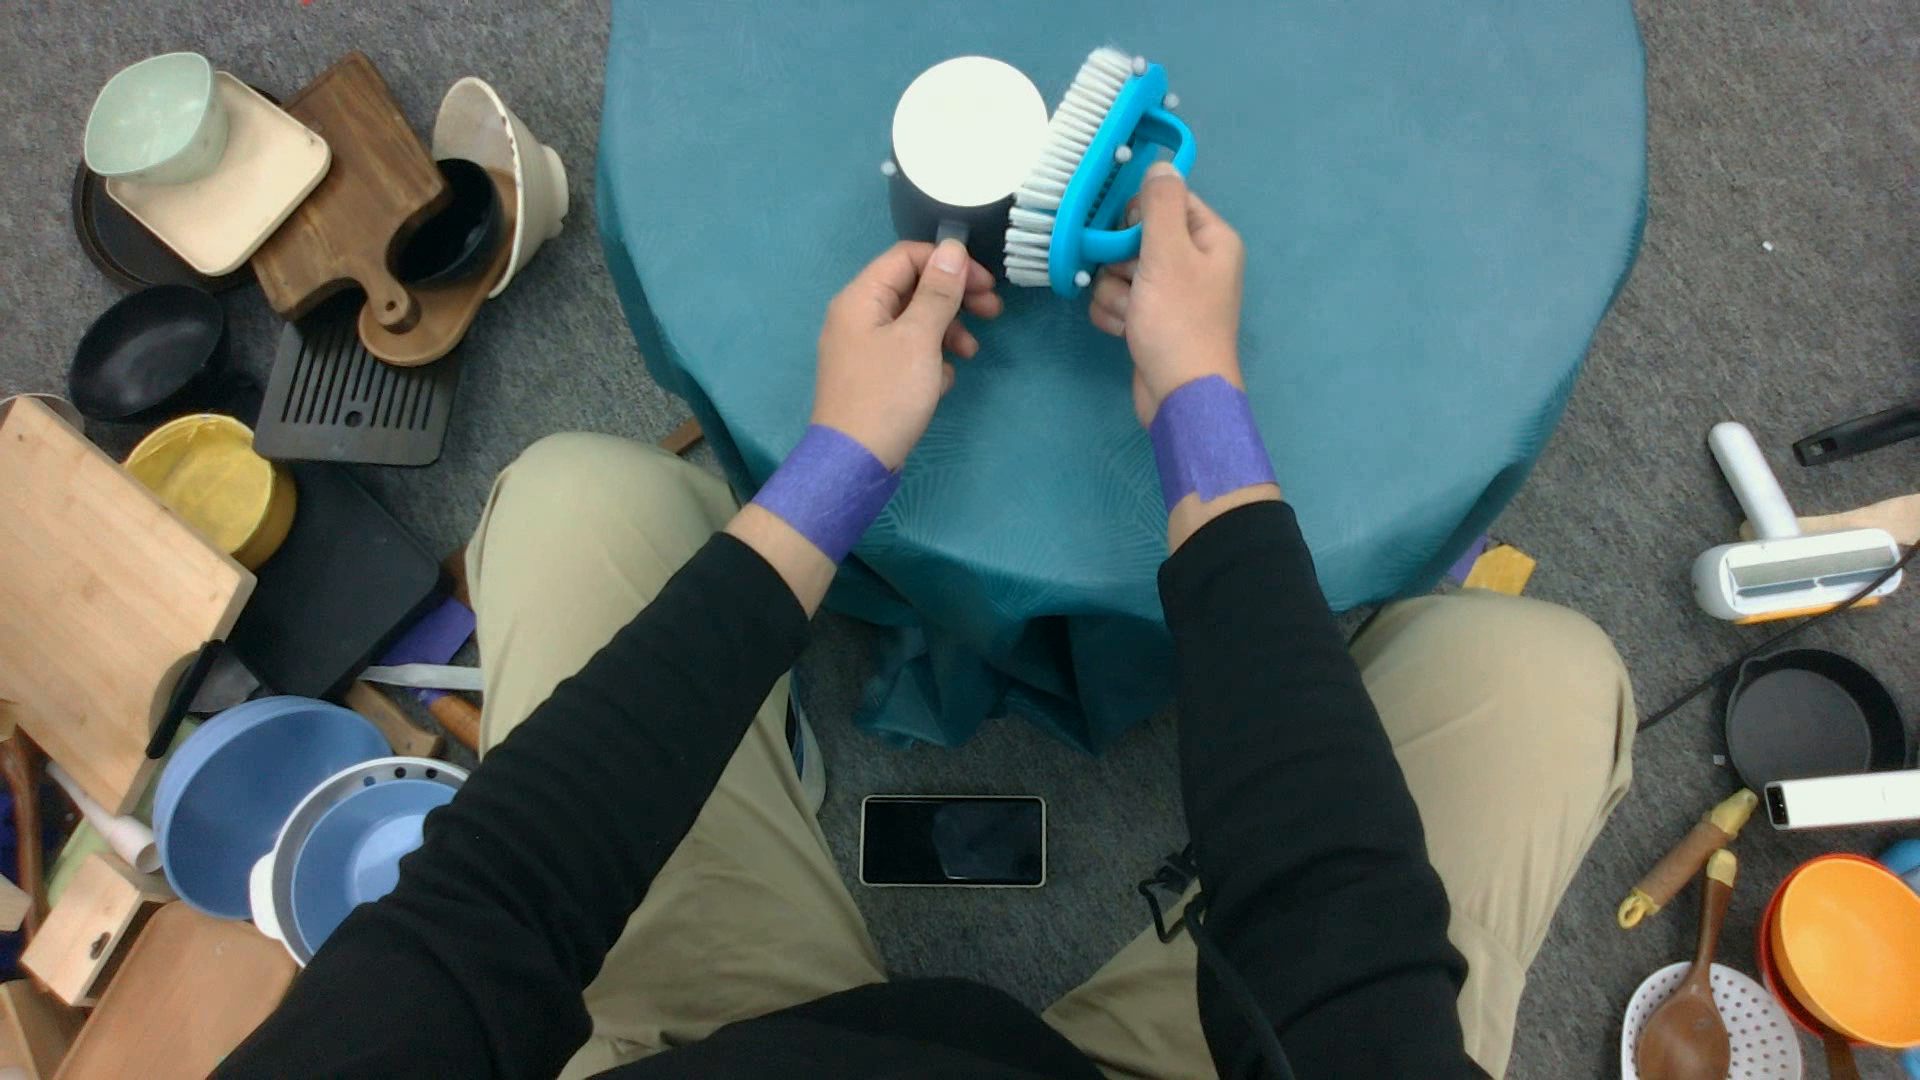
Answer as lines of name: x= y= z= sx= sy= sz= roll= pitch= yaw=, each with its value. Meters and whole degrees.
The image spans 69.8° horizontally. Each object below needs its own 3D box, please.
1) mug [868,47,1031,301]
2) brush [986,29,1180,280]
mug: x=-0.008 y=-0.187 z=0.729 sx=0.093 sy=0.089 sz=0.123 roll=12 pitch=76 yaw=4
brush: x=0.071 y=-0.191 z=0.702 sx=0.064 sy=0.084 sz=0.142 roll=22 pitch=65 yaw=16
